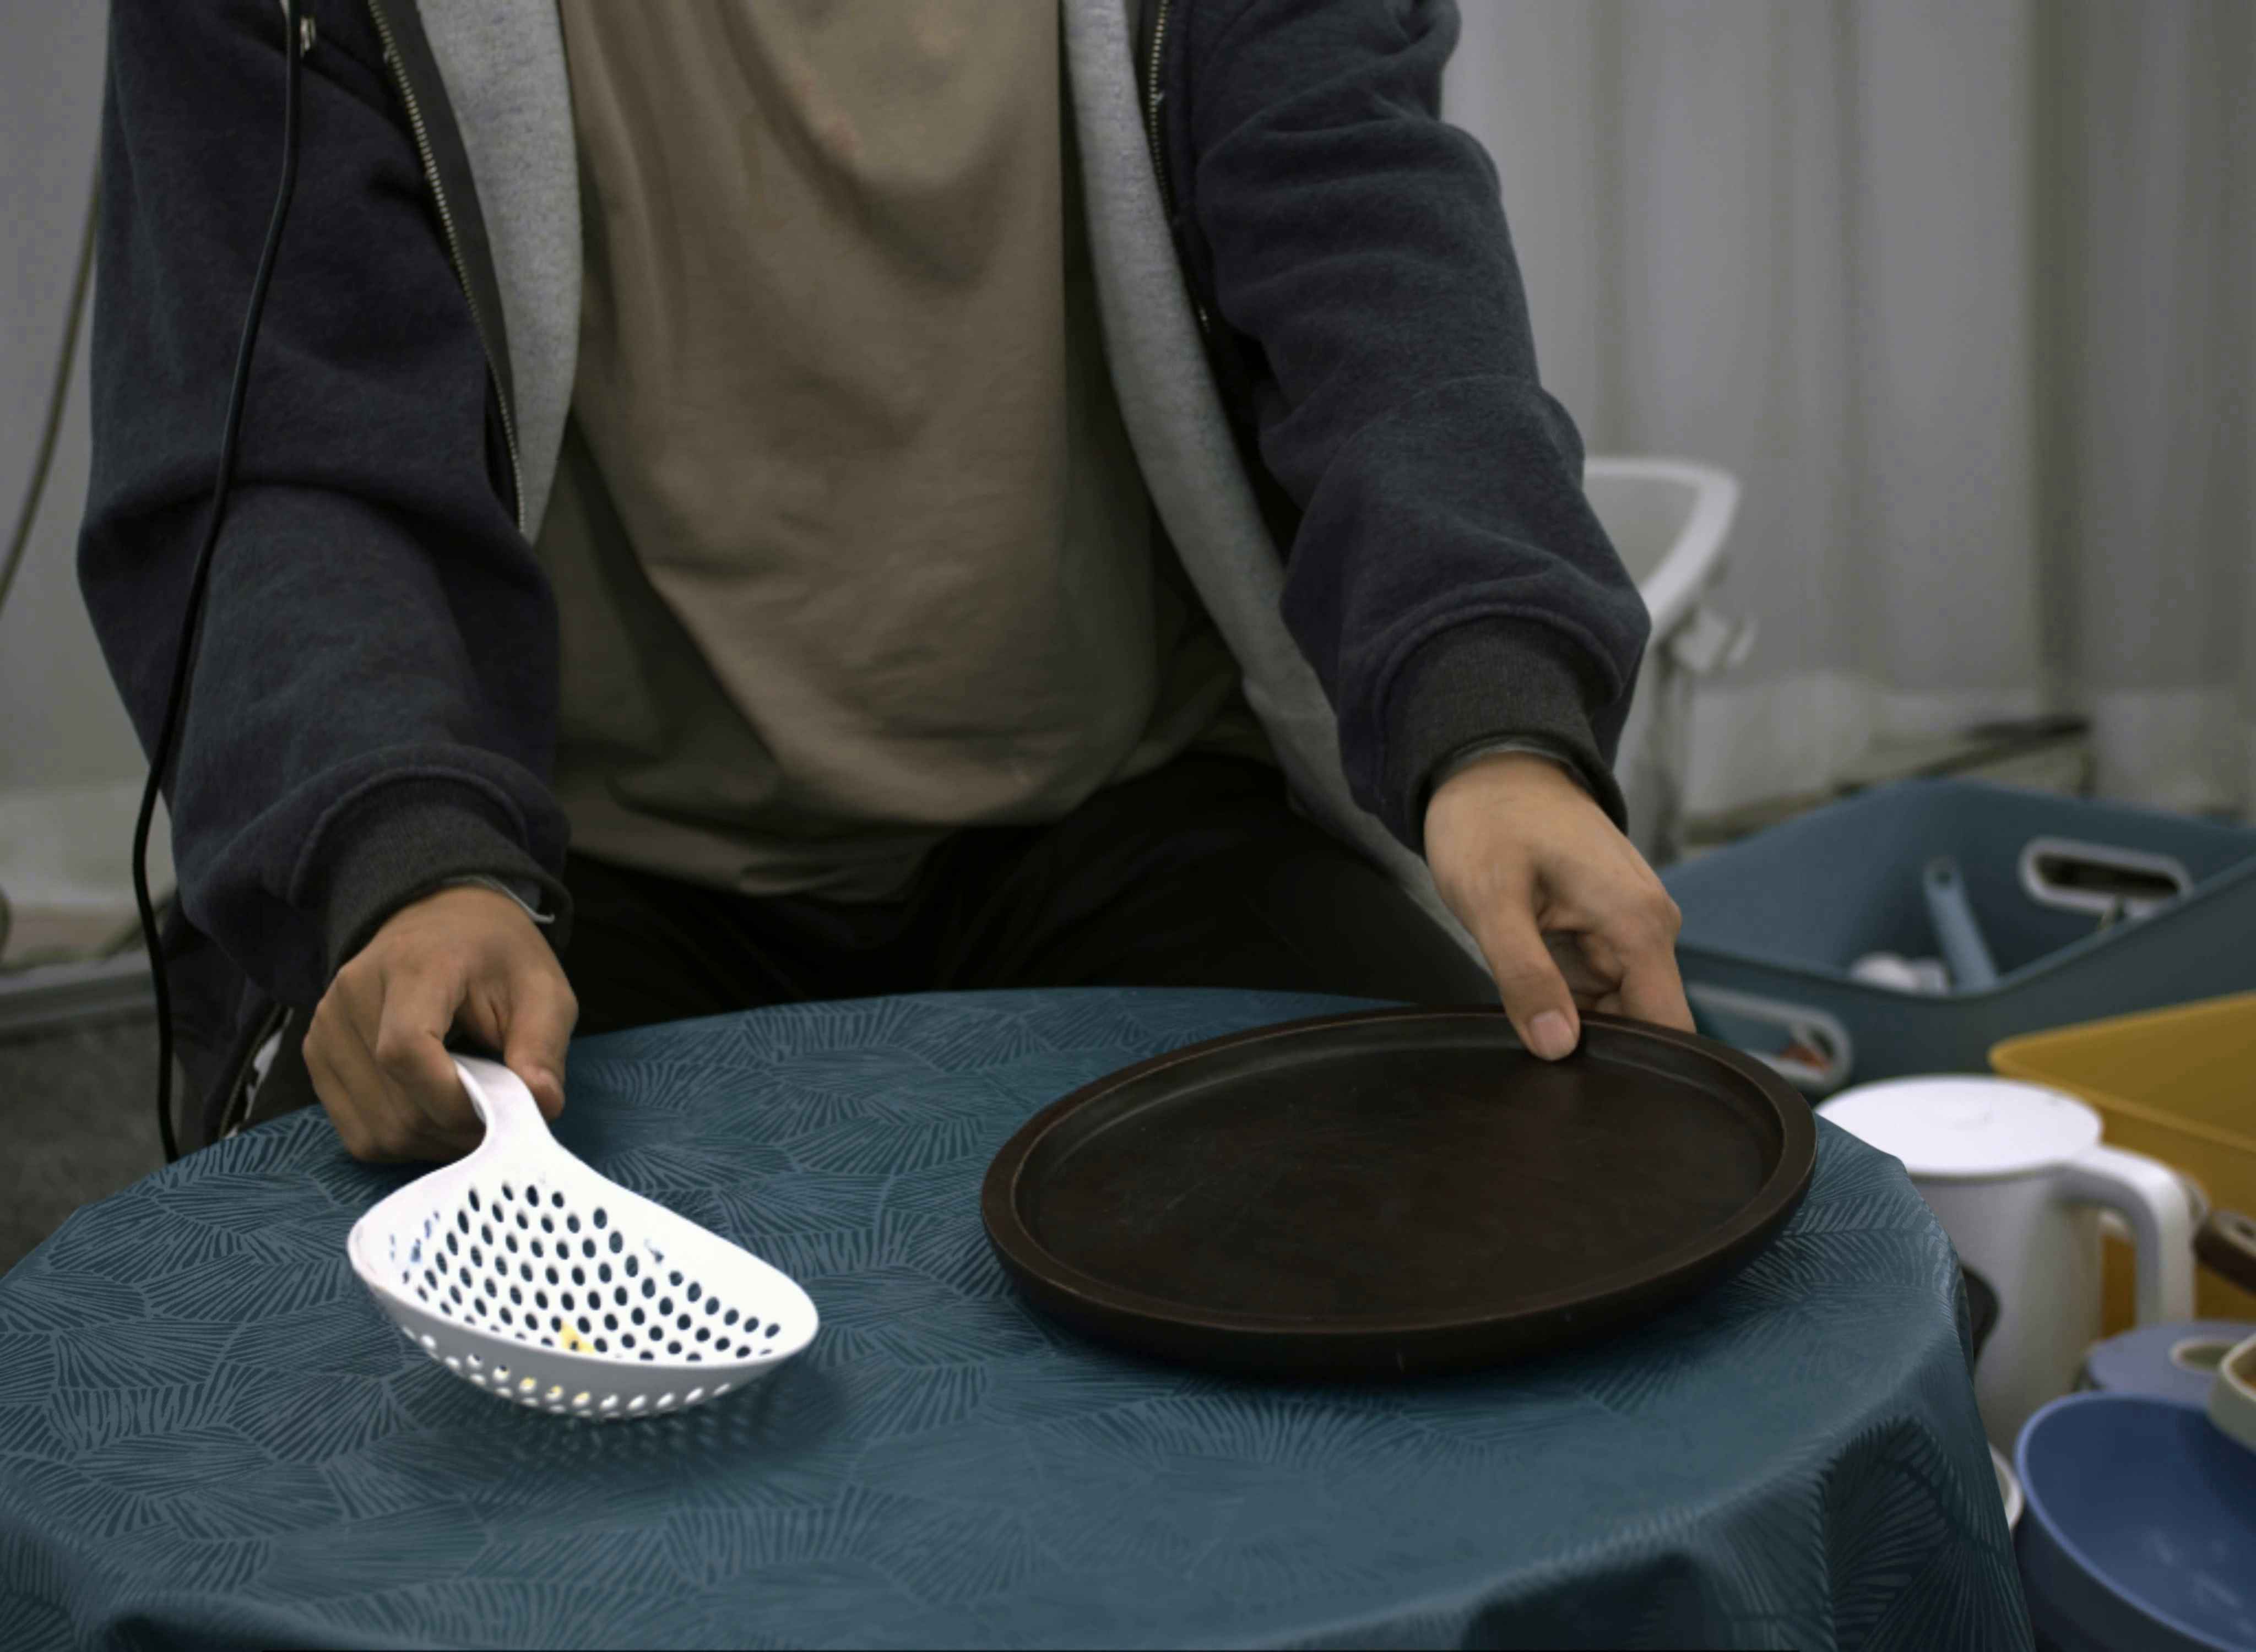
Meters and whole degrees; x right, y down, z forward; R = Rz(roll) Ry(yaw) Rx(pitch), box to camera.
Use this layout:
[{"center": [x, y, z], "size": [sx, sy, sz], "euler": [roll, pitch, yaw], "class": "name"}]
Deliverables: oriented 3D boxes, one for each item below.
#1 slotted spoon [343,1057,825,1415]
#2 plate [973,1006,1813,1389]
[{"center": [-0.185, 0.111, 1.654], "size": [0.136, 0.050, 0.351], "euler": [5, 16, -17], "class": "slotted spoon"}, {"center": [0.080, 0.109, 1.644], "size": [0.254, 0.029, 0.257], "euler": [-6, 18, 2], "class": "plate"}]
